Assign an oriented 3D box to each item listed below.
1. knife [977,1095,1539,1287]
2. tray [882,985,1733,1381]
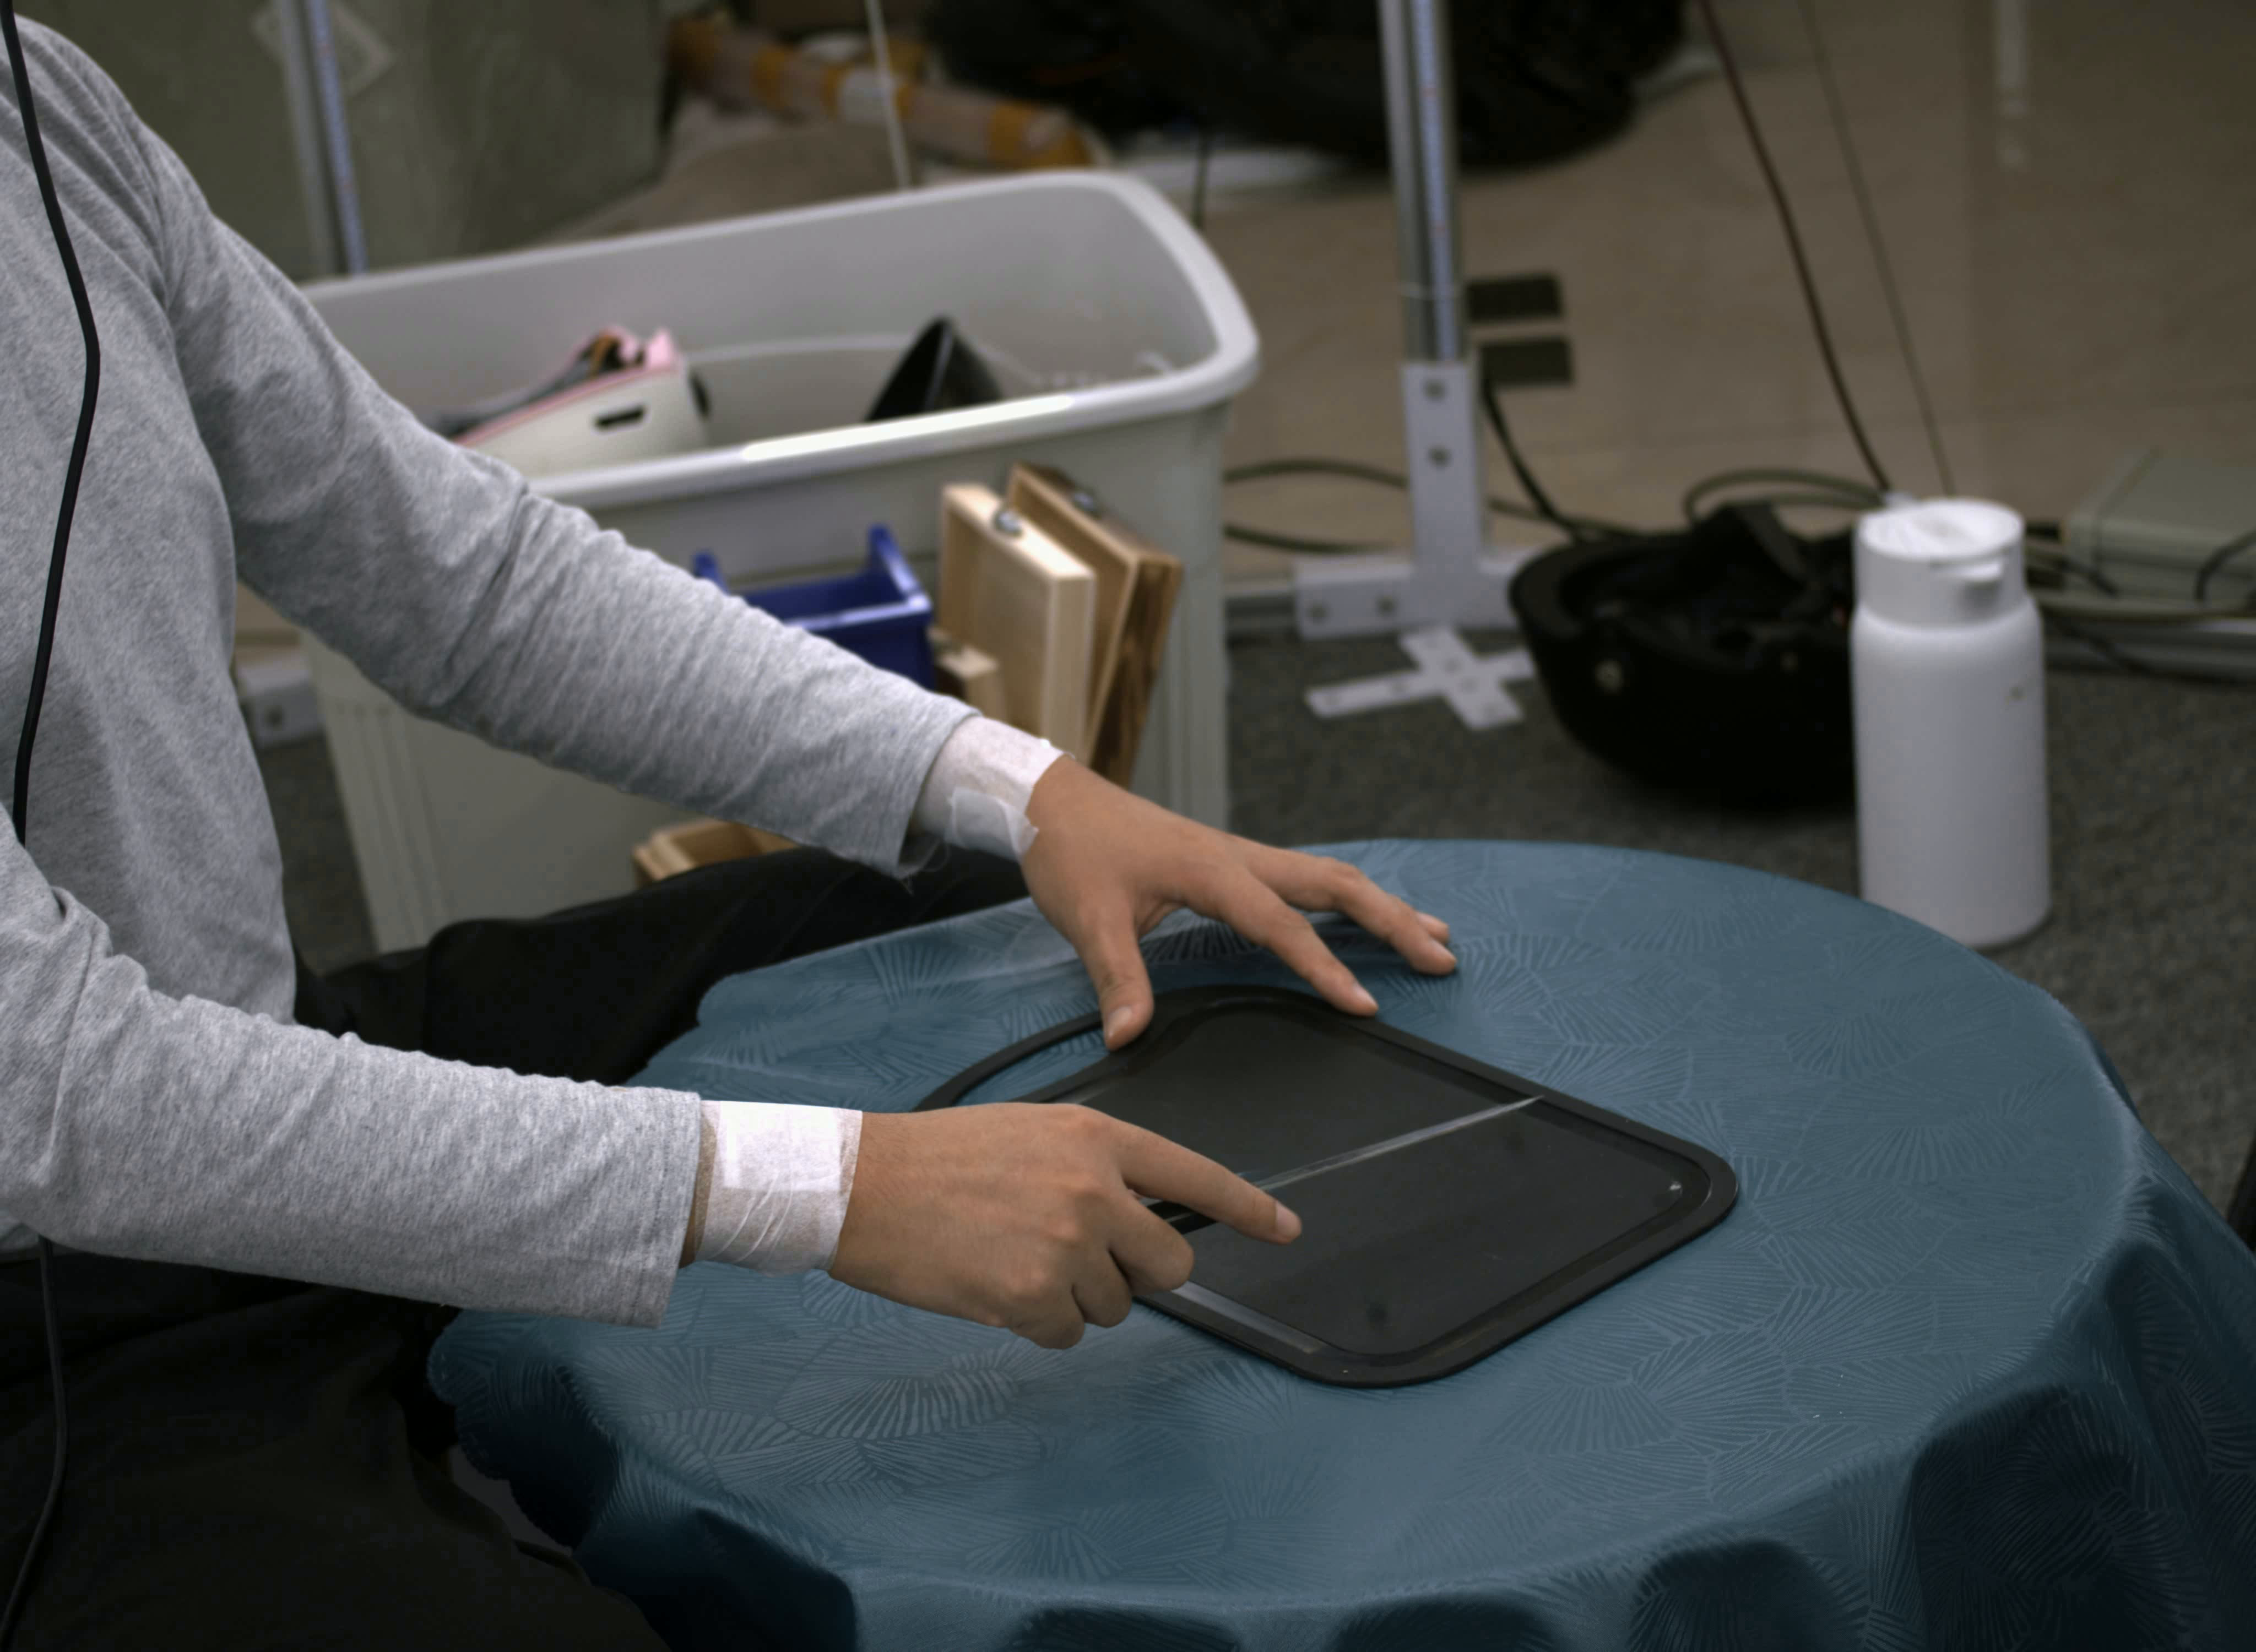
[{"bbox_3d":[0.052,0.129,2.050,0.237,0.016,0.024,-16,11,-27],"label":"knife"},{"bbox_3d":[0.058,0.128,2.155,0.209,0.010,0.322,-25,30,-35],"label":"tray"}]
